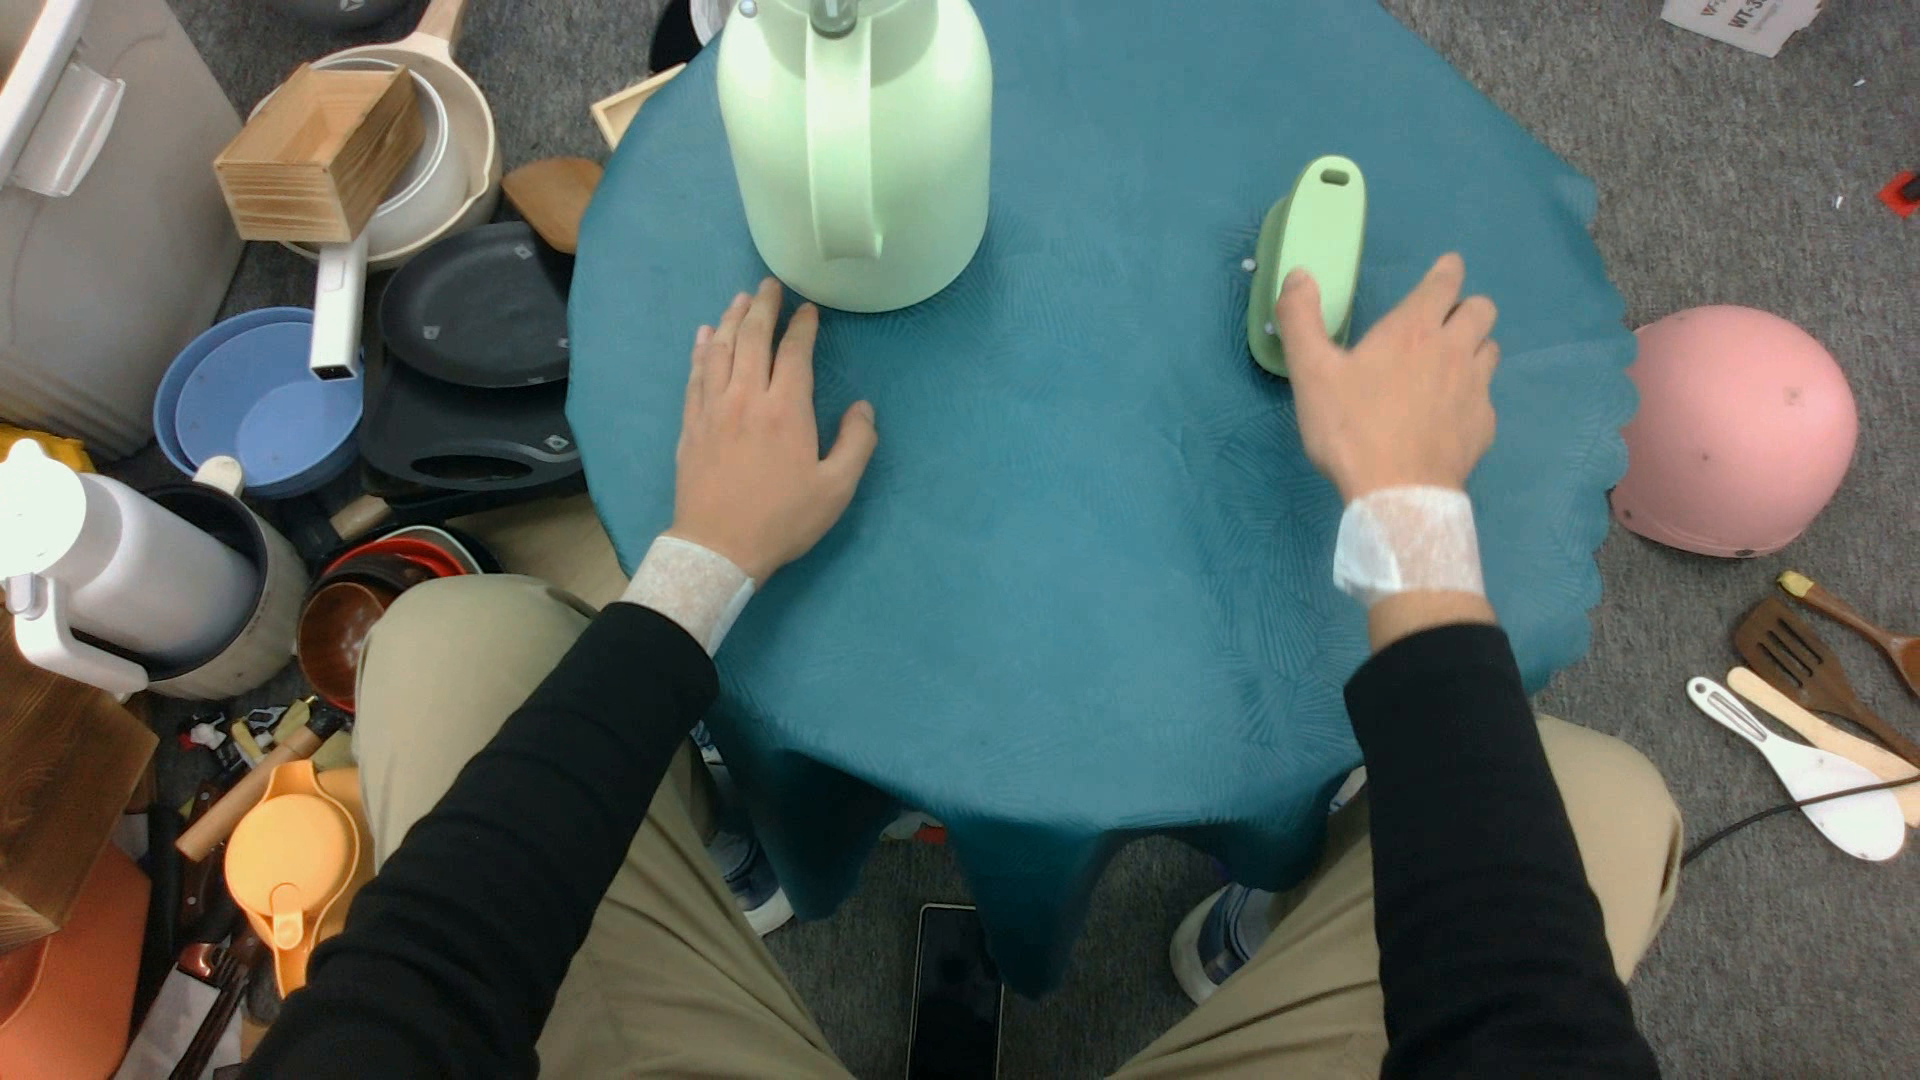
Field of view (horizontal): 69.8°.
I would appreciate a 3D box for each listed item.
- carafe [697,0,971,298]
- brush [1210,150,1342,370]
[{"bbox_3d":[-0.064,-0.228,0.708,0.144,0.256,0.187,0,75,-1],"label":"carafe"},{"bbox_3d":[0.184,-0.159,0.804,0.059,0.076,0.123,16,88,3],"label":"brush"}]
